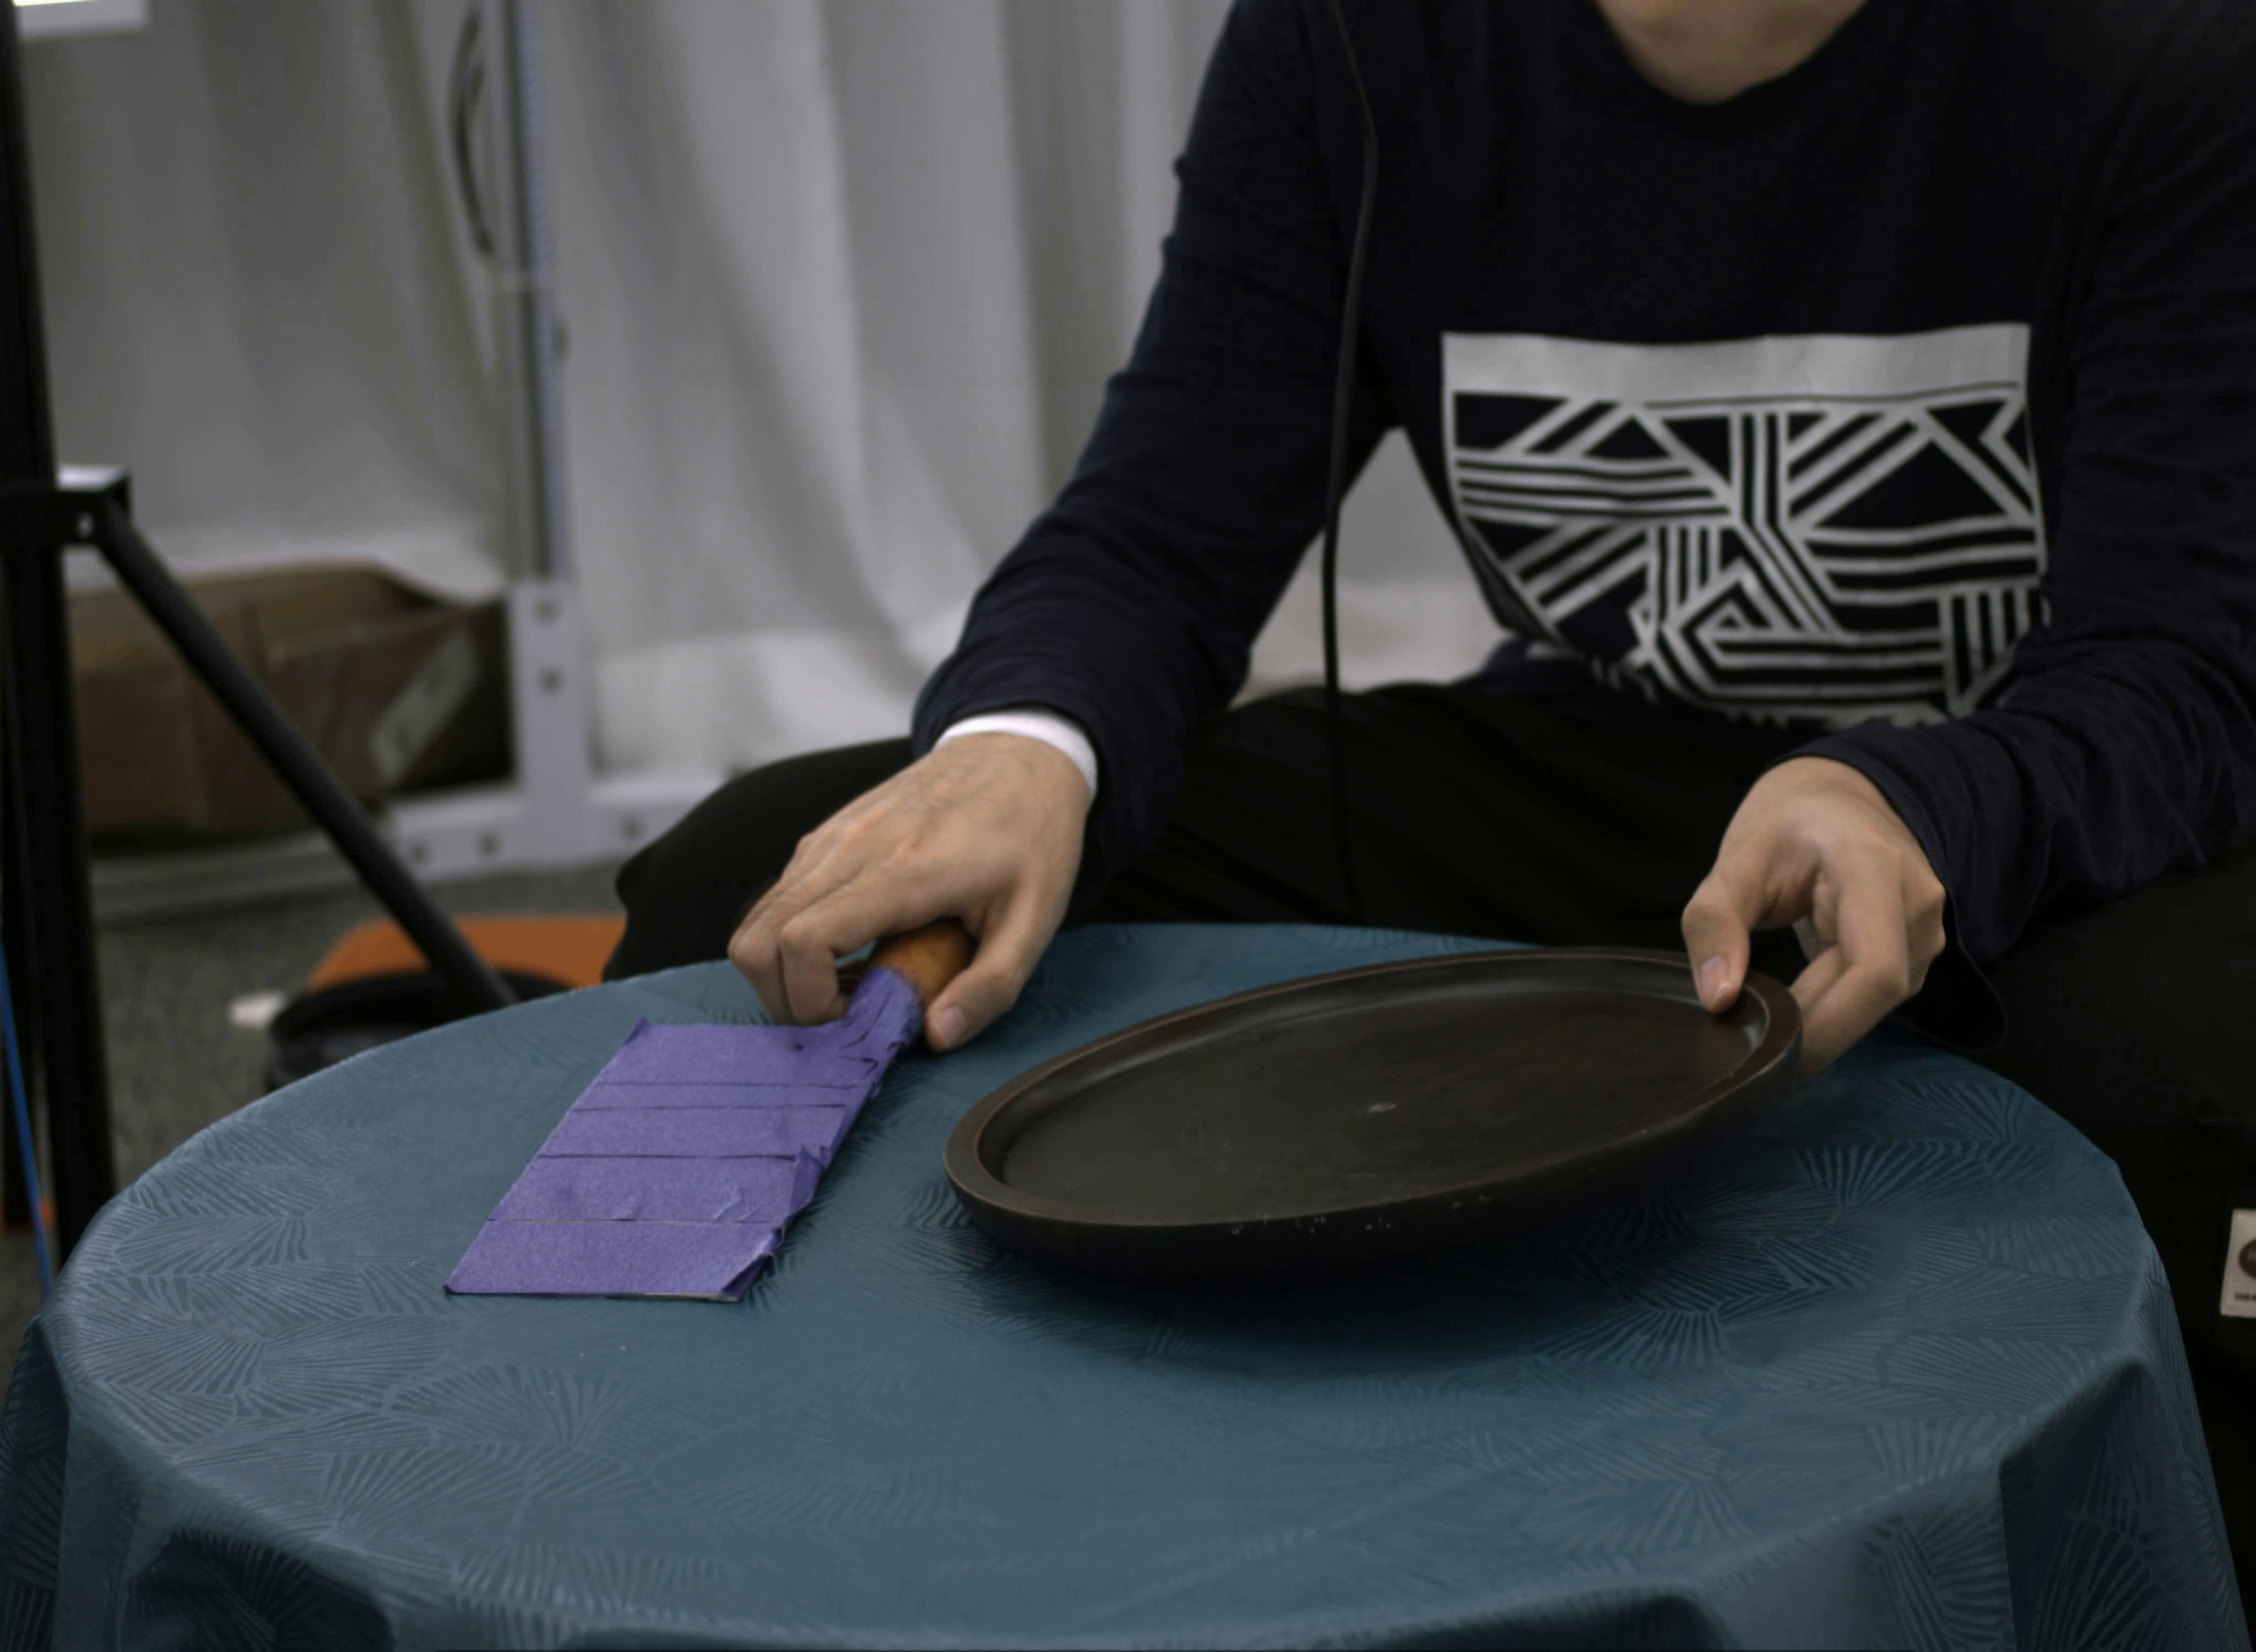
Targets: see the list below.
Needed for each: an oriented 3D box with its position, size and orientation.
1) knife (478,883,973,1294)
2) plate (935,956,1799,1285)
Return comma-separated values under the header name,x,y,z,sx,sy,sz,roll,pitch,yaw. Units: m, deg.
name,x,y,z,sx,sy,sz,roll,pitch,yaw
knife,-0.121,0.077,1.635,0.104,0.032,0.314,1,17,11
plate,0.070,0.083,1.538,0.254,0.029,0.256,-11,14,1
